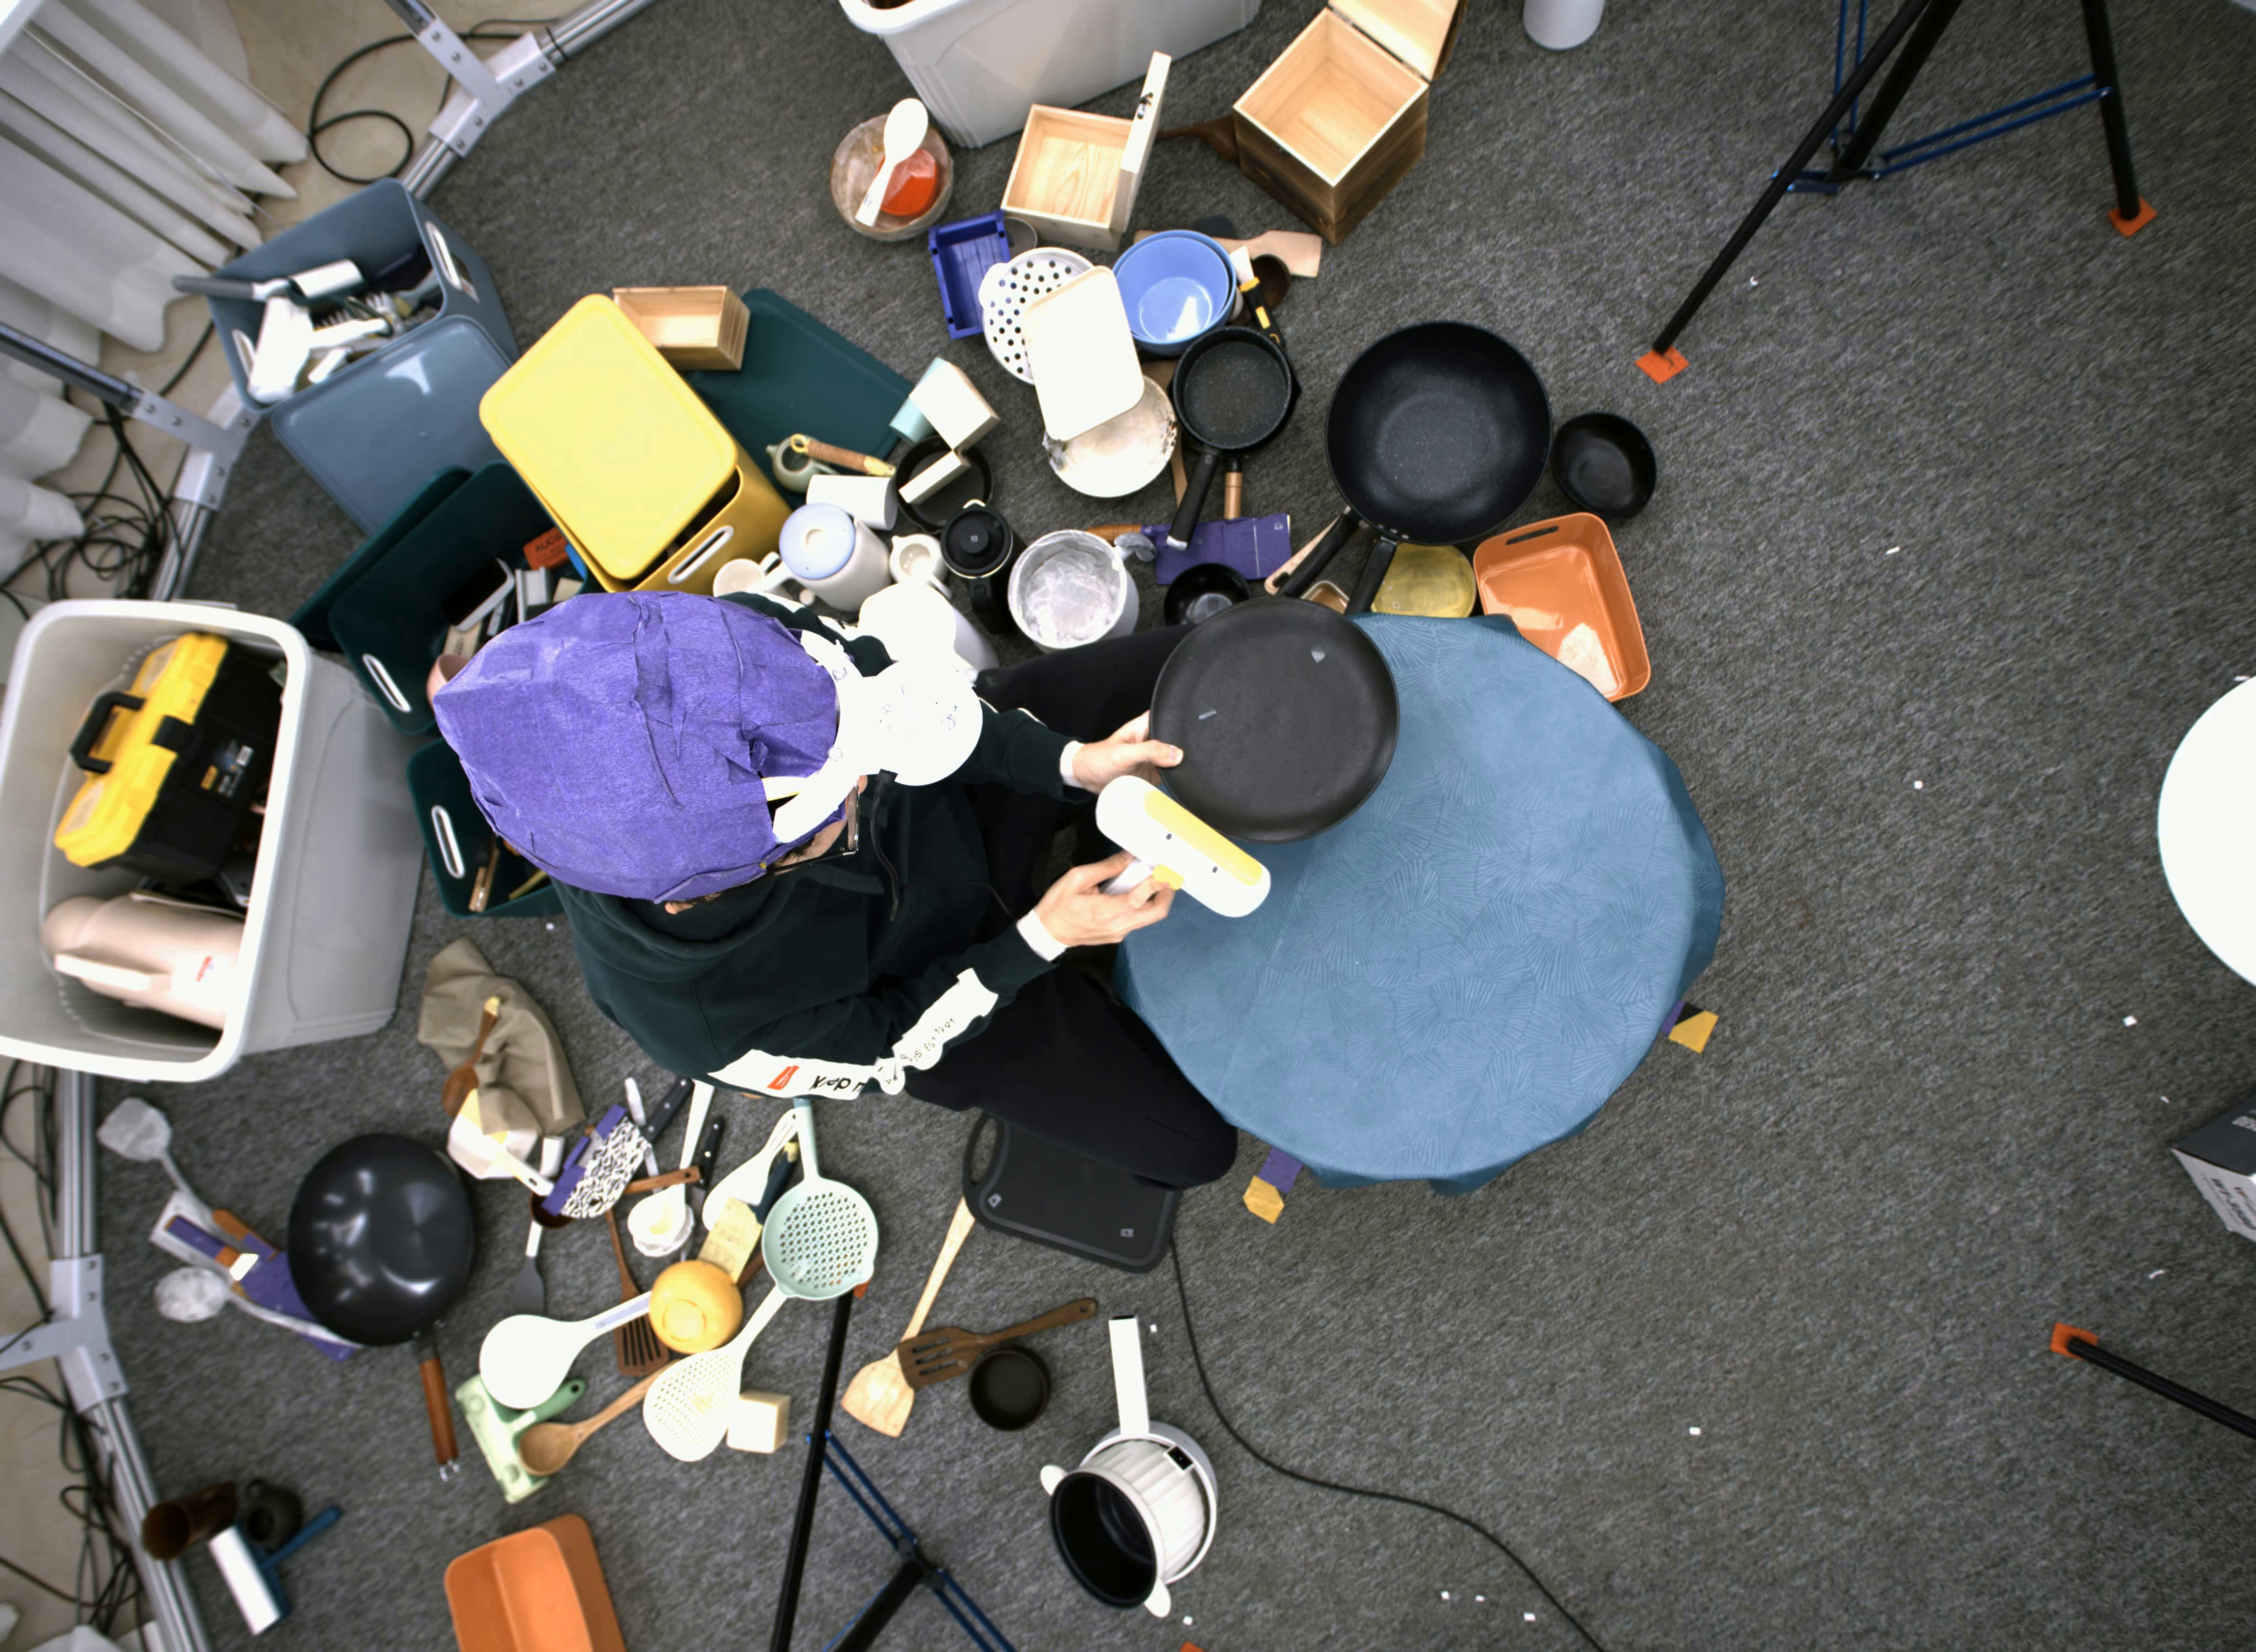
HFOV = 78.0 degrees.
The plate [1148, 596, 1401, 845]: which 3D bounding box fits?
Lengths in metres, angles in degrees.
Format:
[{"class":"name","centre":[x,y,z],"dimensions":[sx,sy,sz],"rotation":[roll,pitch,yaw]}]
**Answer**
[{"class":"plate","centre":[0.140,-0.103,1.327],"dimensions":[0.245,0.023,0.243],"rotation":[-2,85,14]}]

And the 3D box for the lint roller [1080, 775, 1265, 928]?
[{"class":"lint roller","centre":[0.015,0.044,1.373],"dimensions":[0.193,0.196,0.072],"rotation":[28,57,-18]}]
